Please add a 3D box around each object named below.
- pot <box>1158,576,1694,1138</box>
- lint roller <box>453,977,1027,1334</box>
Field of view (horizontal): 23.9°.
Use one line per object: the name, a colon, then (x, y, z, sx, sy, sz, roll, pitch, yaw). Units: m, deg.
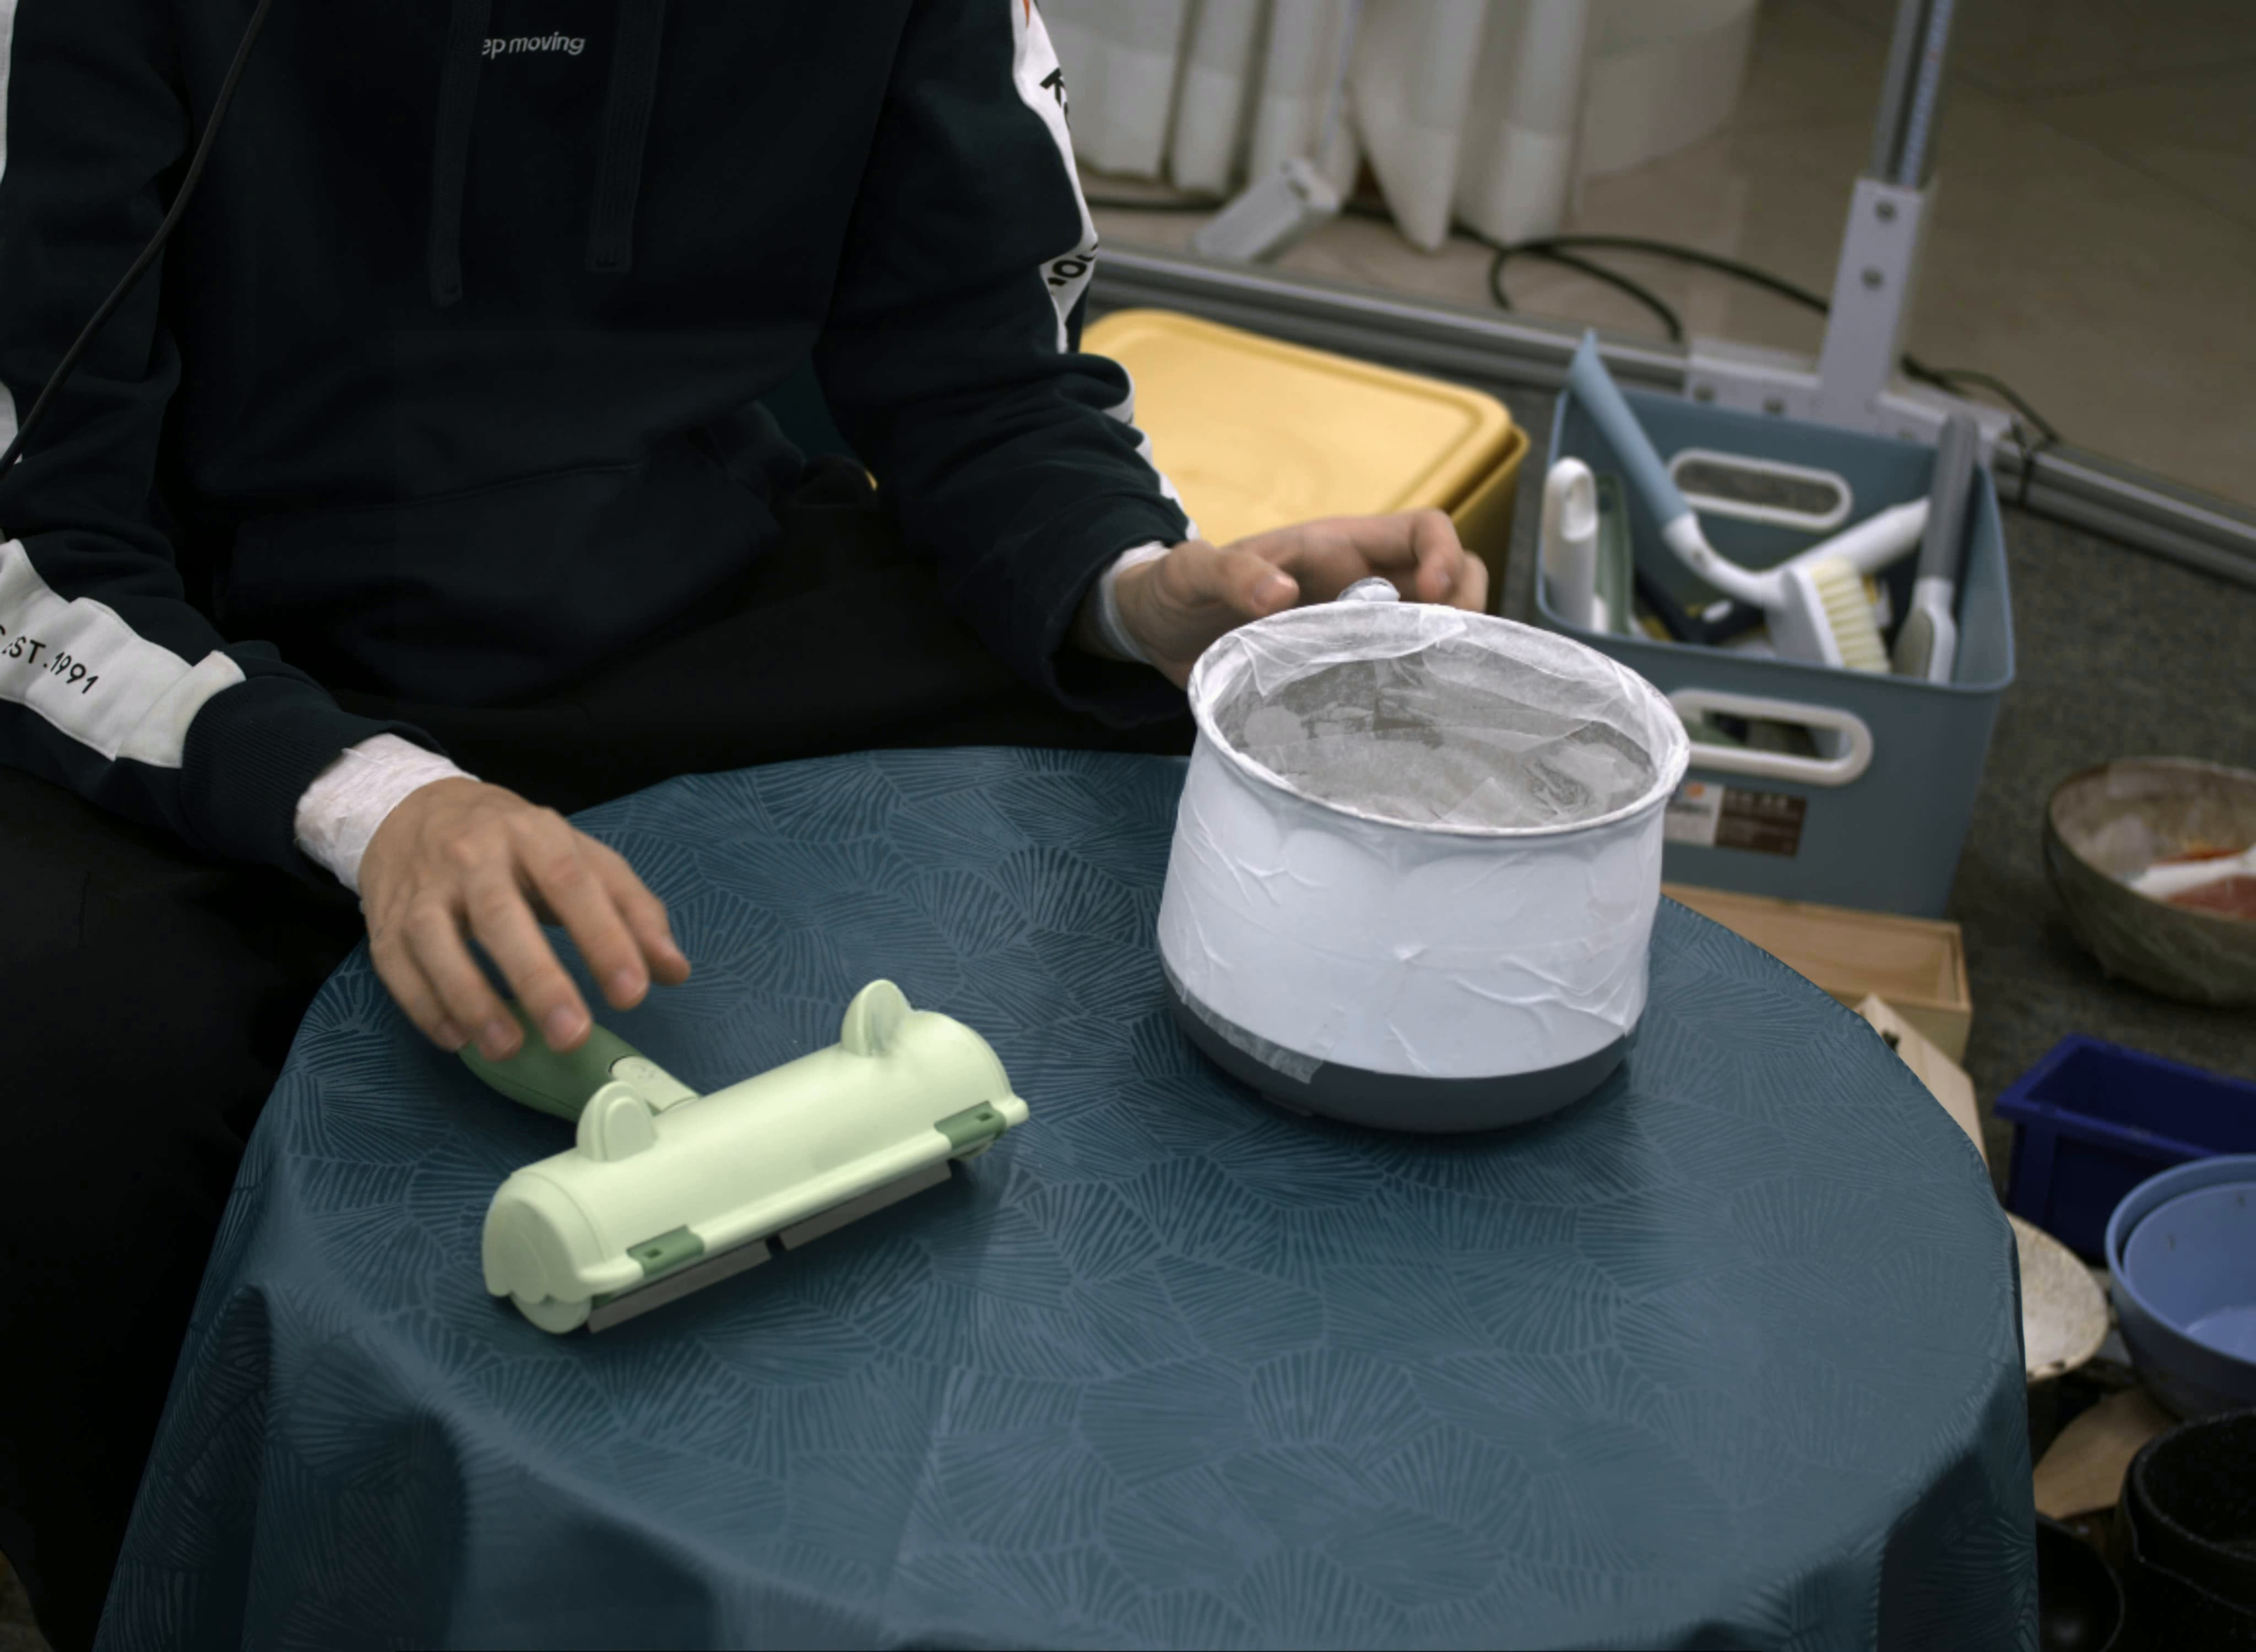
pot: (0.096, 0.004, 1.904, 0.178, 0.136, 0.235, 1, 28, -13)
lint roller: (-0.161, 0.080, 1.766, 0.197, 0.082, 0.185, -20, 42, -41)
